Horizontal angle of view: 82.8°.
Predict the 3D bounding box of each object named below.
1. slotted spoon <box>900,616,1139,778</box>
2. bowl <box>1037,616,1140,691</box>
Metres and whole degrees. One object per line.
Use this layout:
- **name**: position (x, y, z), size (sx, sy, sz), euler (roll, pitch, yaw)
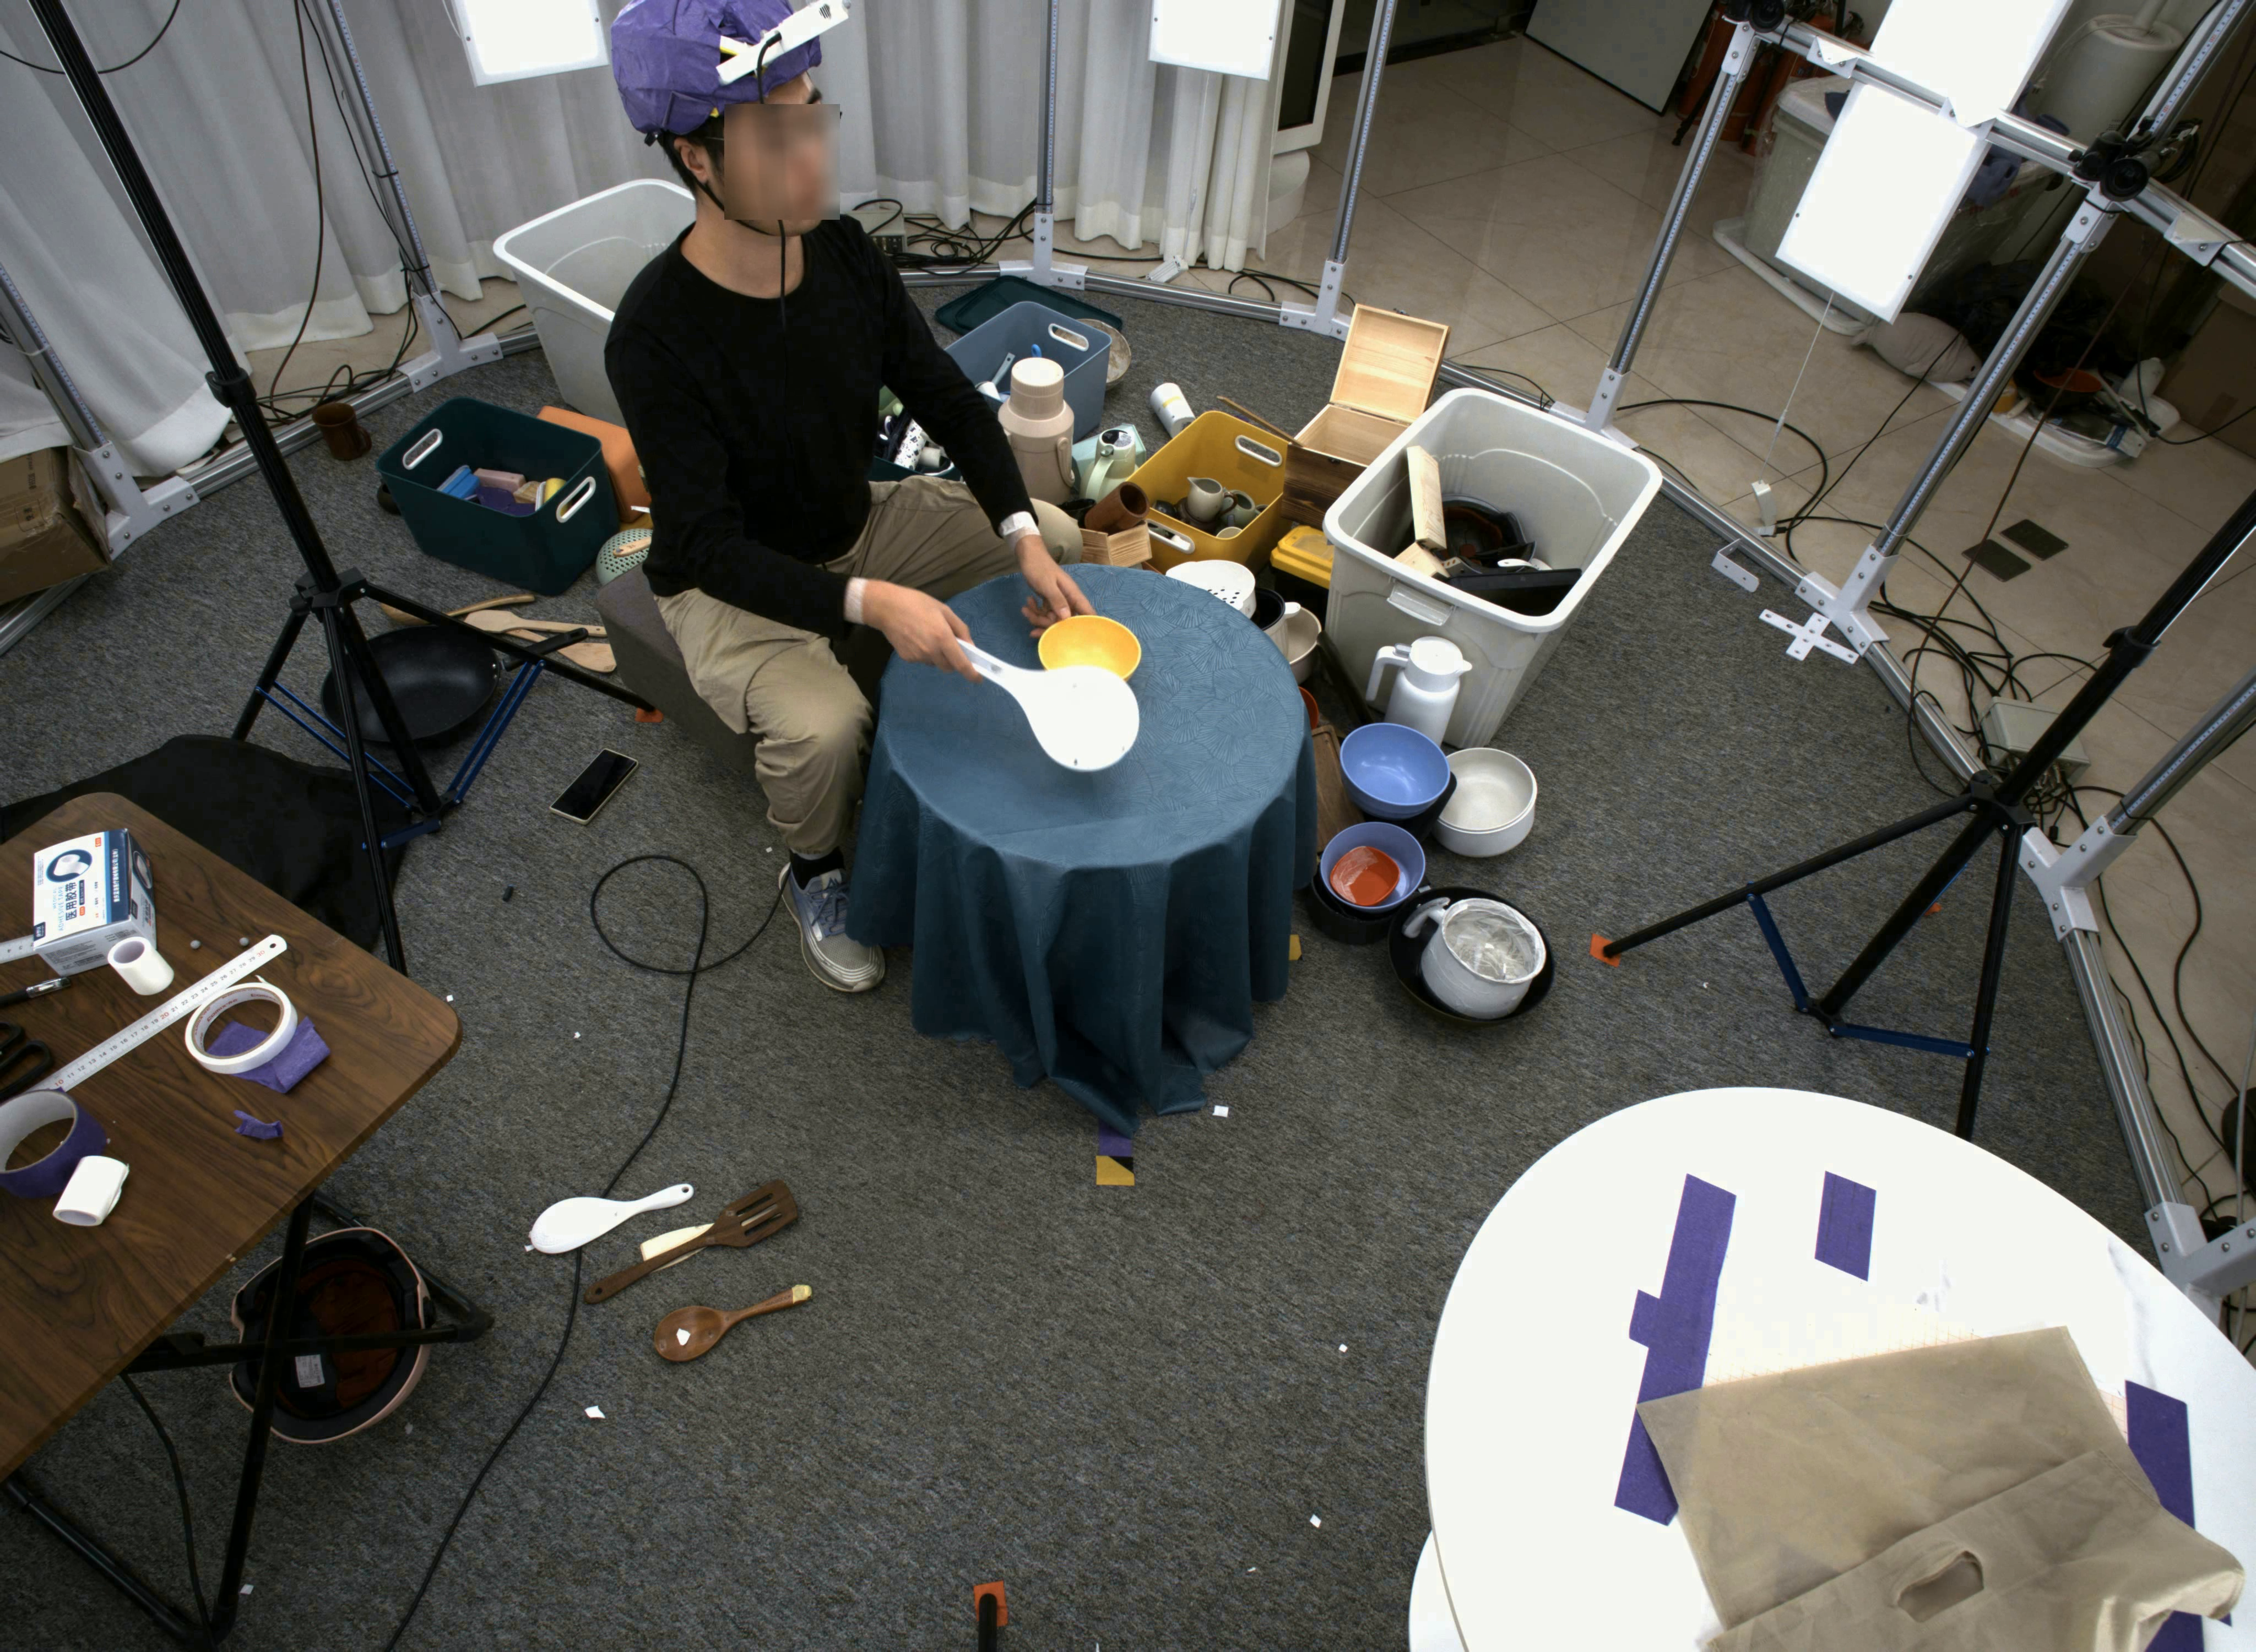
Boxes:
- **slotted spoon**: position (-0.147, -0.181, 1.694), size (0.350, 0.045, 0.137), euler (31, 77, 3)
- **bowl**: position (-0.058, -0.230, 1.829), size (0.145, 0.058, 0.149), euler (3, 49, -4)
